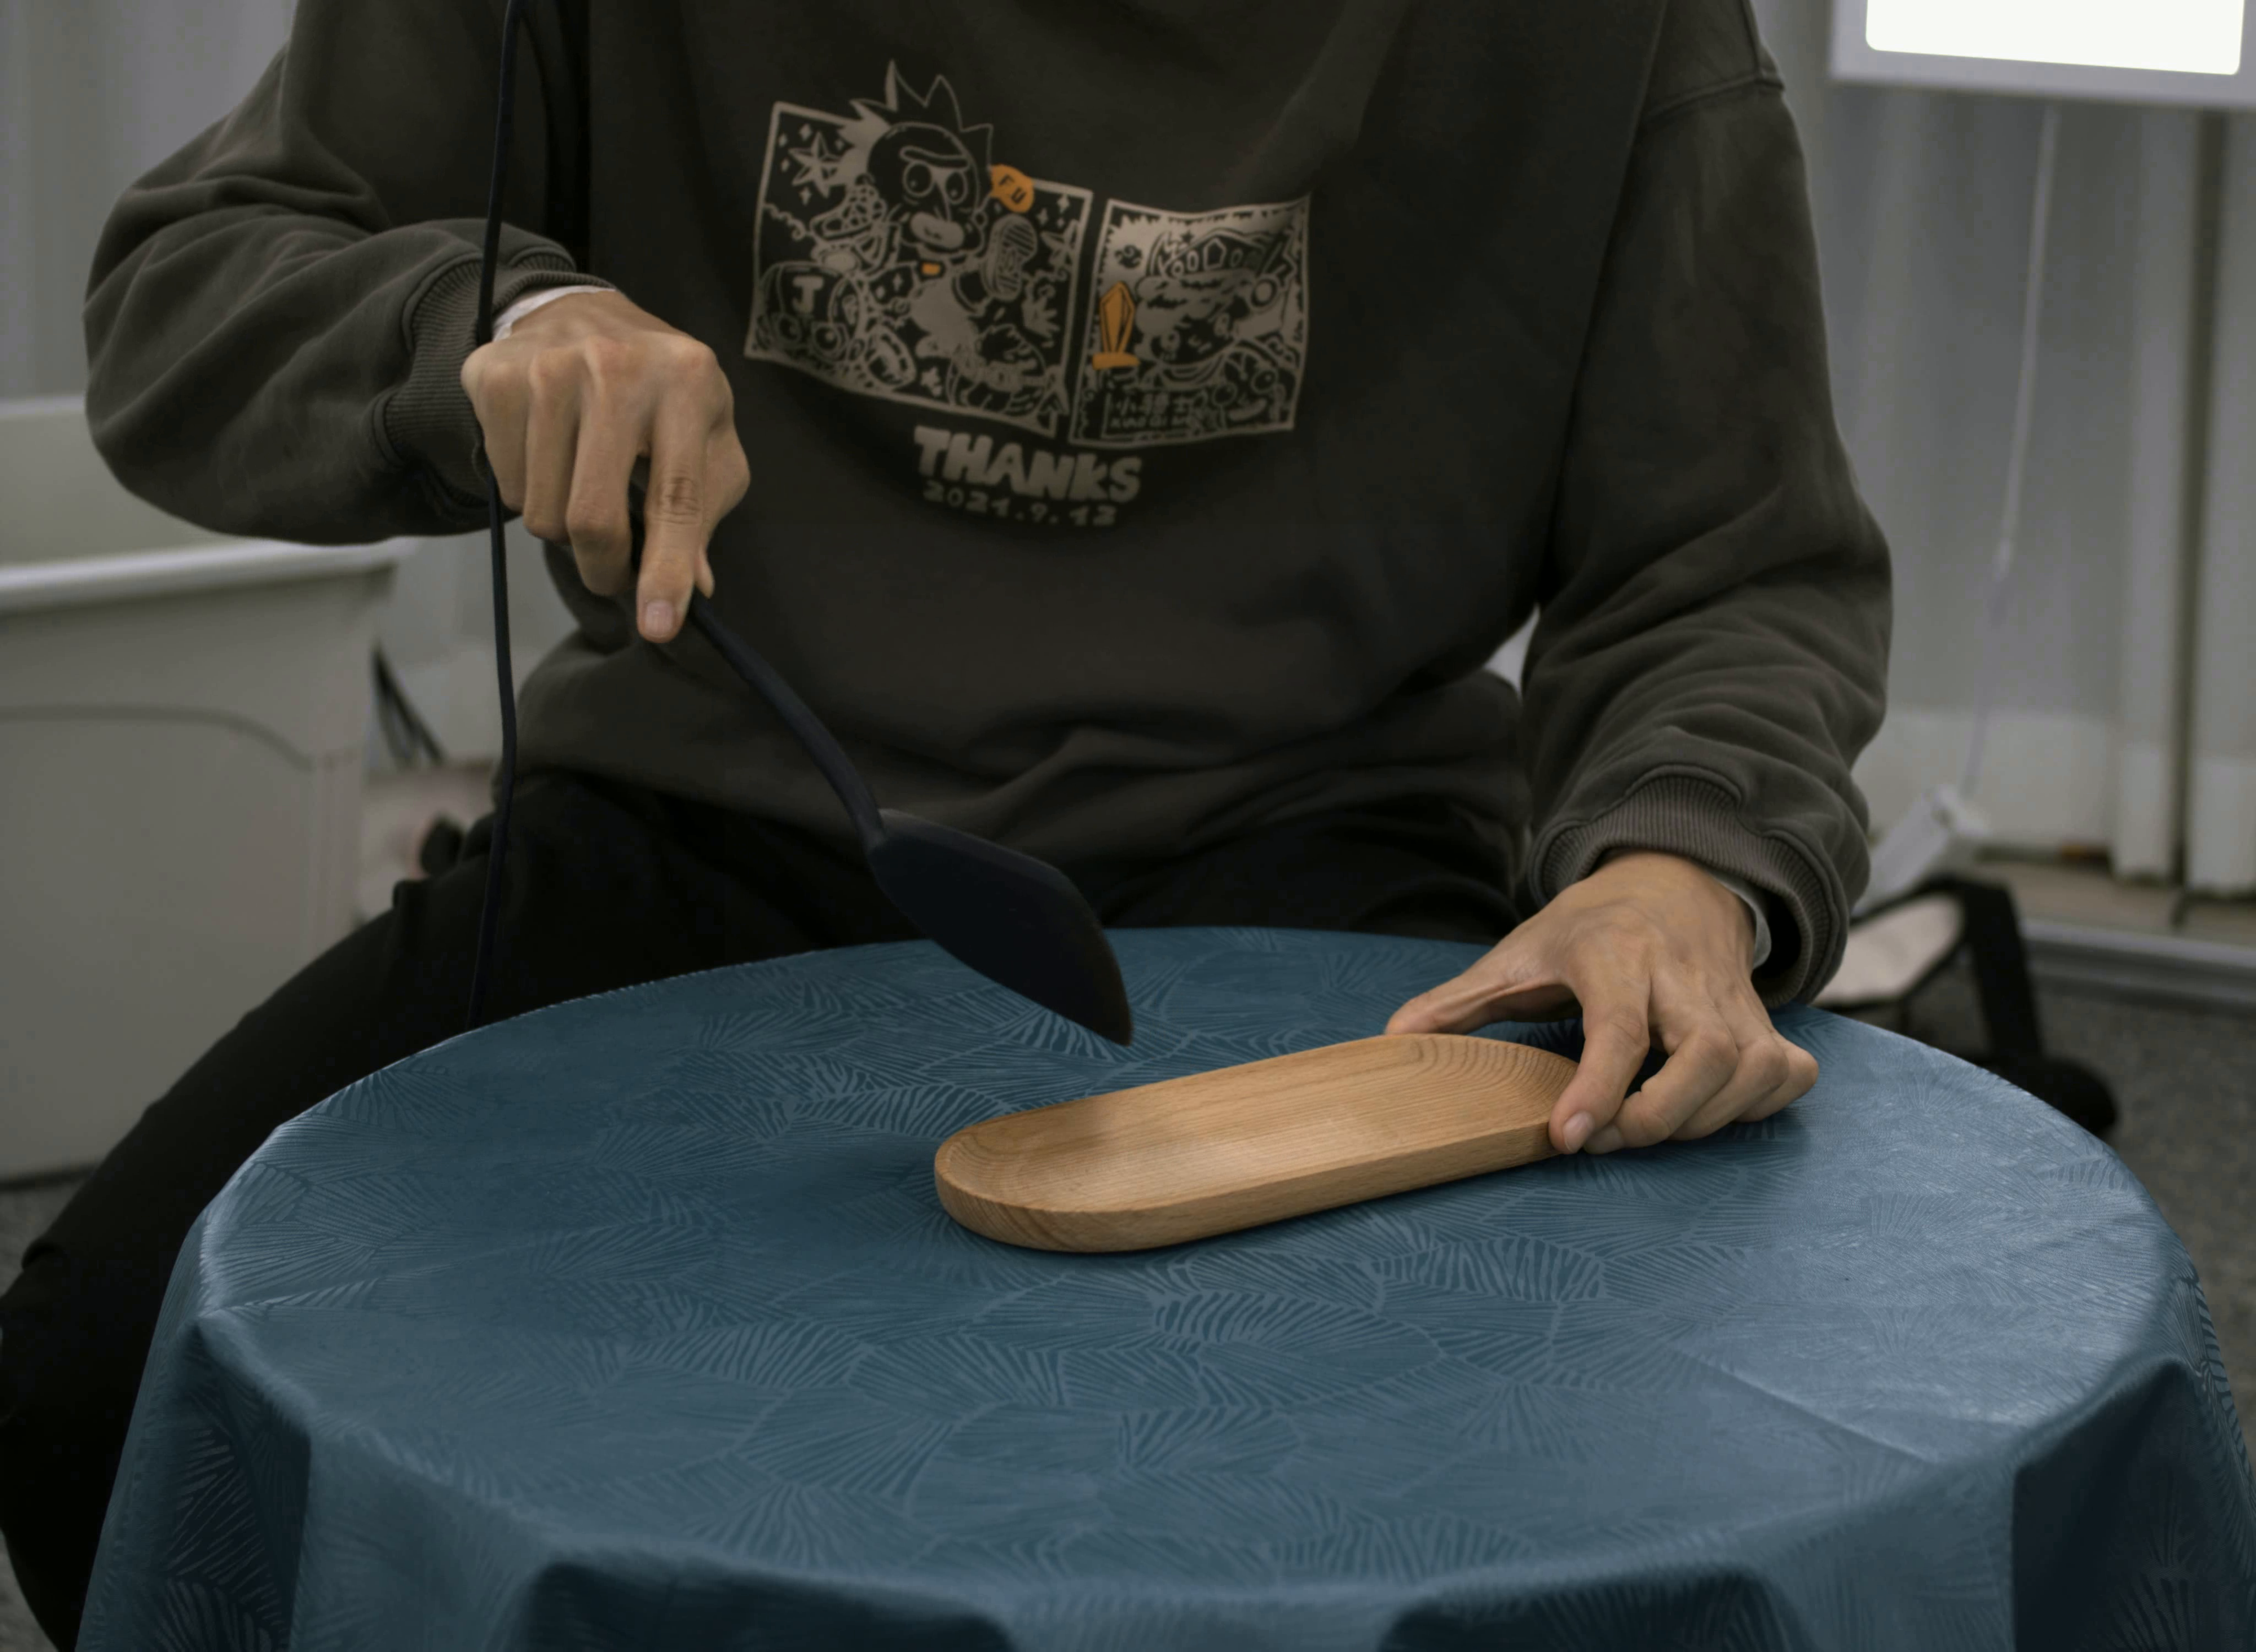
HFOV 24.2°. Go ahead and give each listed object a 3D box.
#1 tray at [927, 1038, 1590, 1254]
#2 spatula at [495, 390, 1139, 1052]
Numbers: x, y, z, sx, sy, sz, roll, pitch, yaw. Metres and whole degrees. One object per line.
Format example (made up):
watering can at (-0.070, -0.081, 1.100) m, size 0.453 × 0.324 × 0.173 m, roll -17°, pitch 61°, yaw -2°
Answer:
tray at (0.043, 0.099, 1.649) m, size 0.232 × 0.020 × 0.100 m, roll -11°, pitch 18°, yaw -33°
spatula at (-0.107, -0.046, 1.691) m, size 0.040 × 0.101 × 0.322 m, roll -34°, pitch 60°, yaw -14°
